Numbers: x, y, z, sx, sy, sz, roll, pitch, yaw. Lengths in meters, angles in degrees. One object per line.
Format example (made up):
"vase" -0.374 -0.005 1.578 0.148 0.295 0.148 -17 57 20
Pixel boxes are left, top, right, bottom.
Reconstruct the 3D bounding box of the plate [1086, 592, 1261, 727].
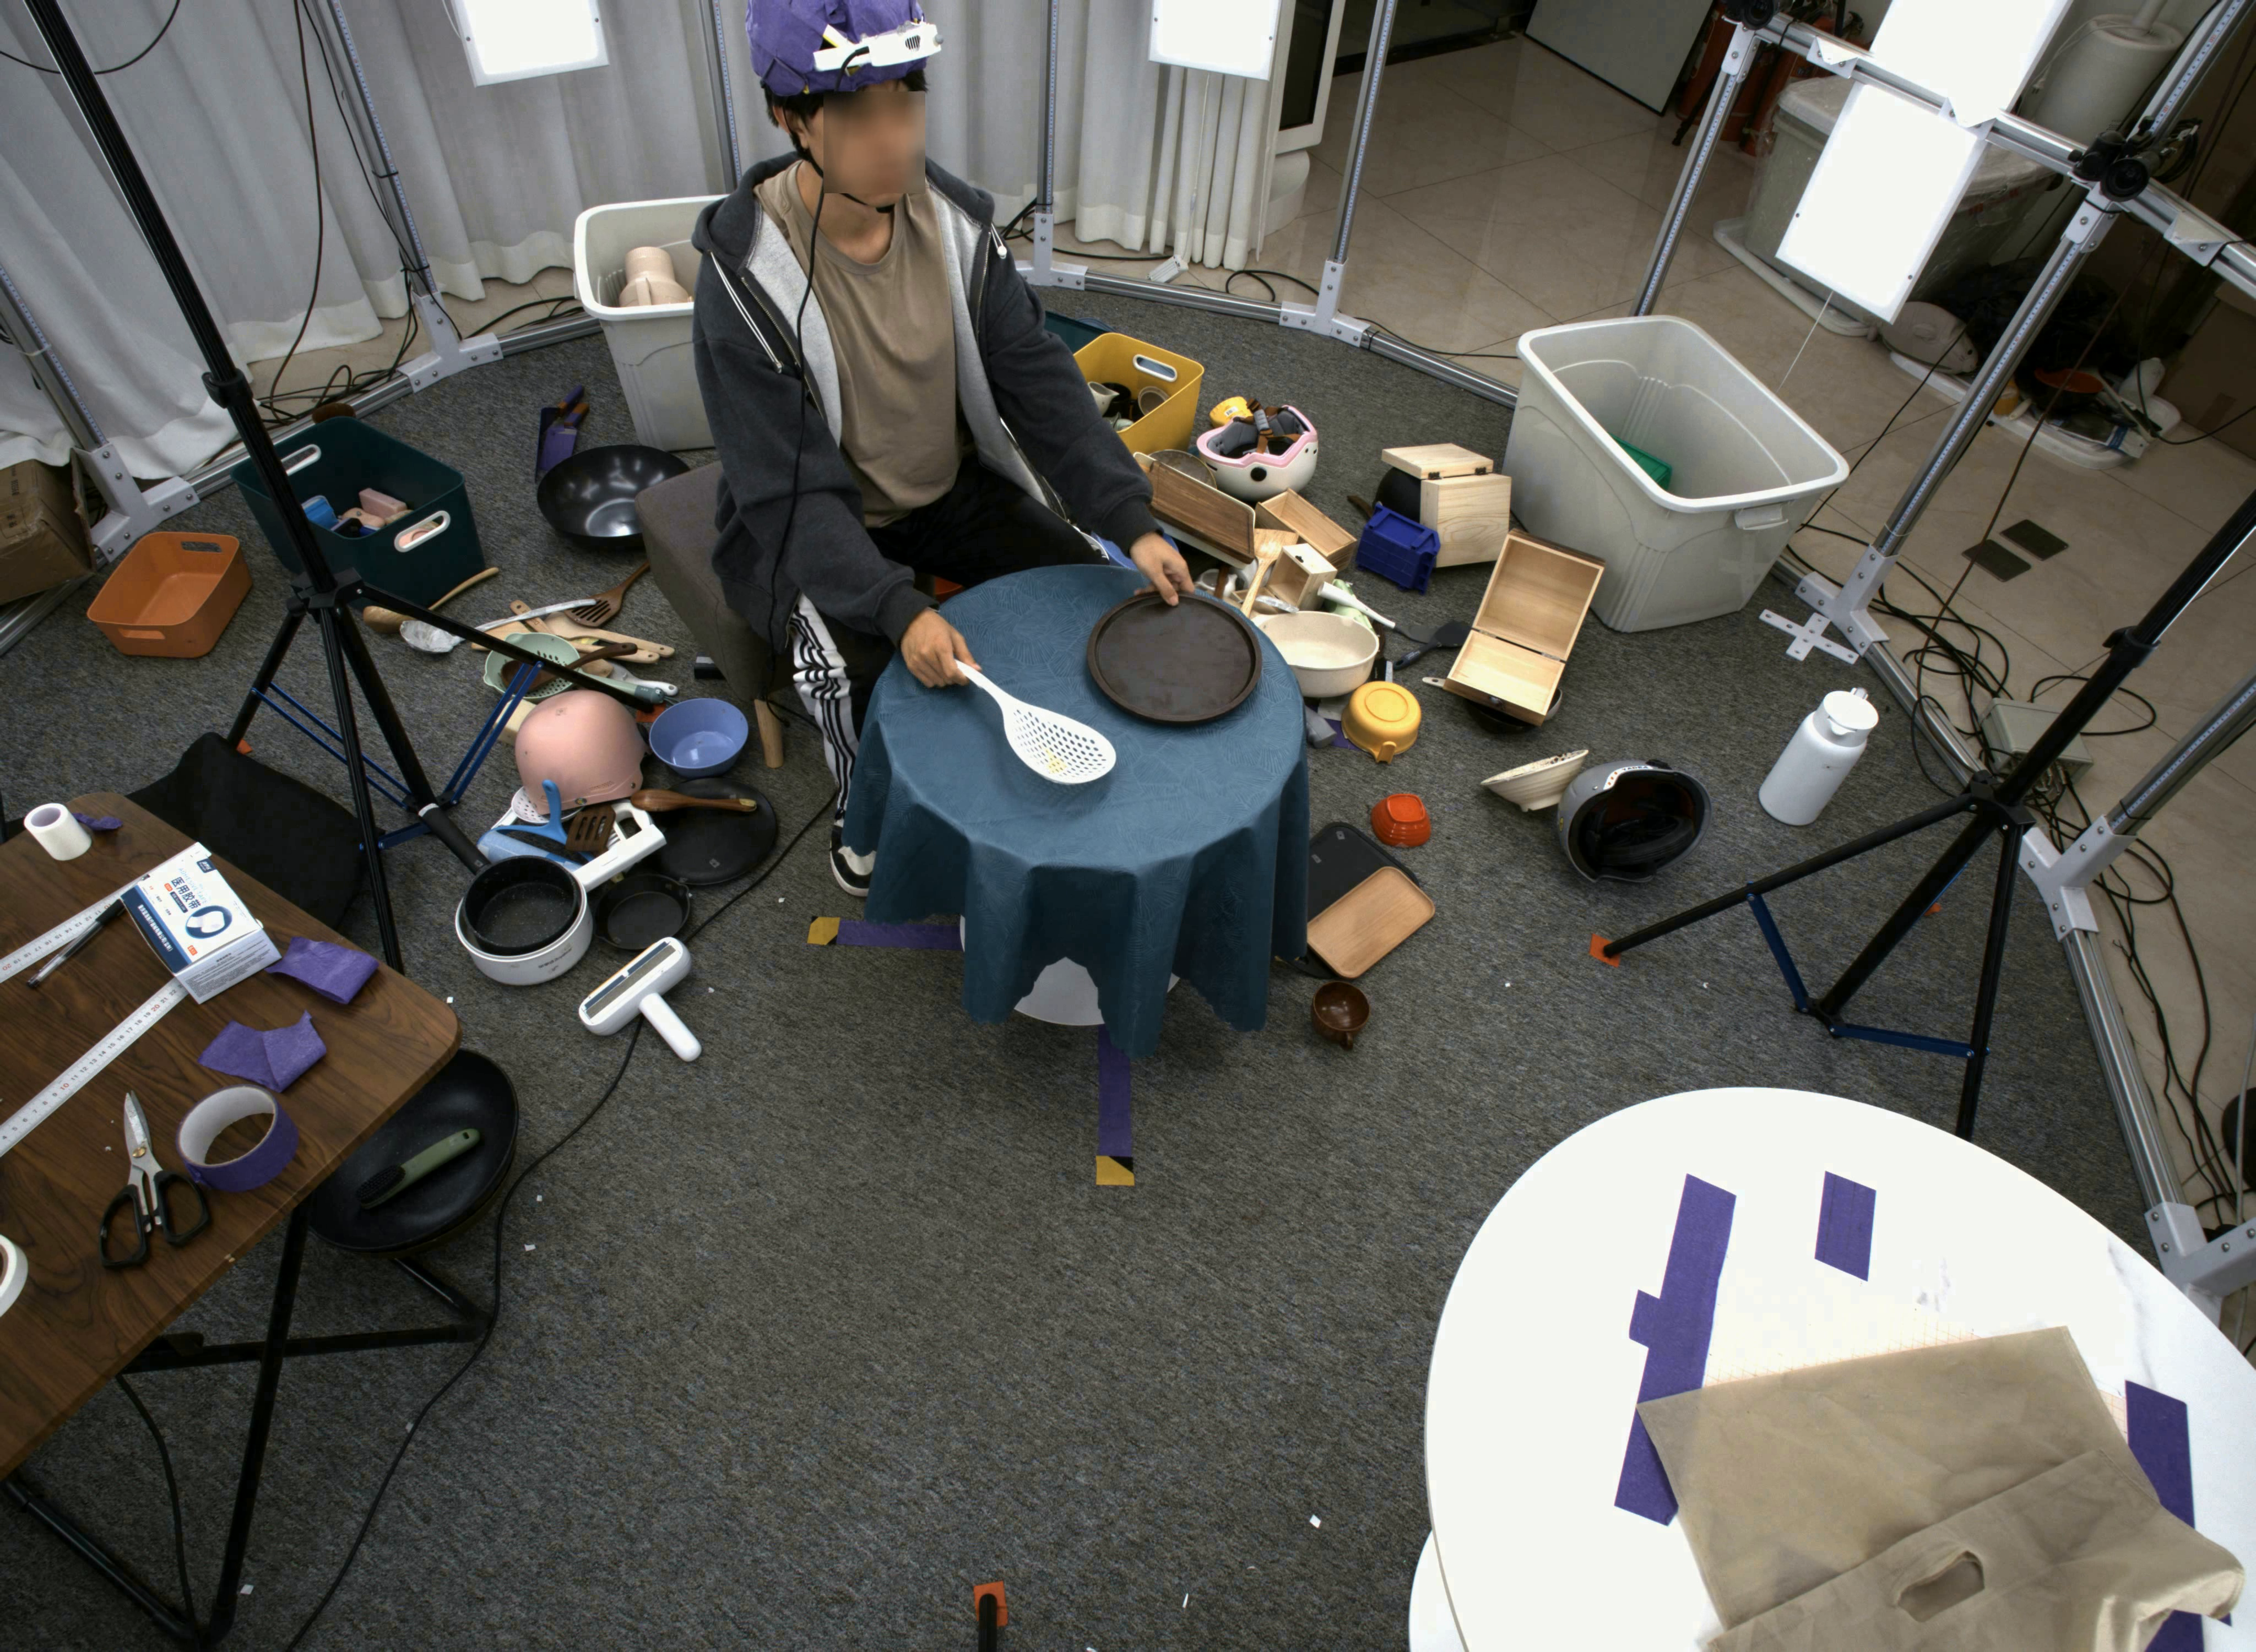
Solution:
"plate" 0.066 -0.242 1.856 0.254 0.028 0.261 1 54 -1

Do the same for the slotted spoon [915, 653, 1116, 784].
"slotted spoon" -0.165 -0.157 1.753 0.353 0.049 0.138 41 46 23
